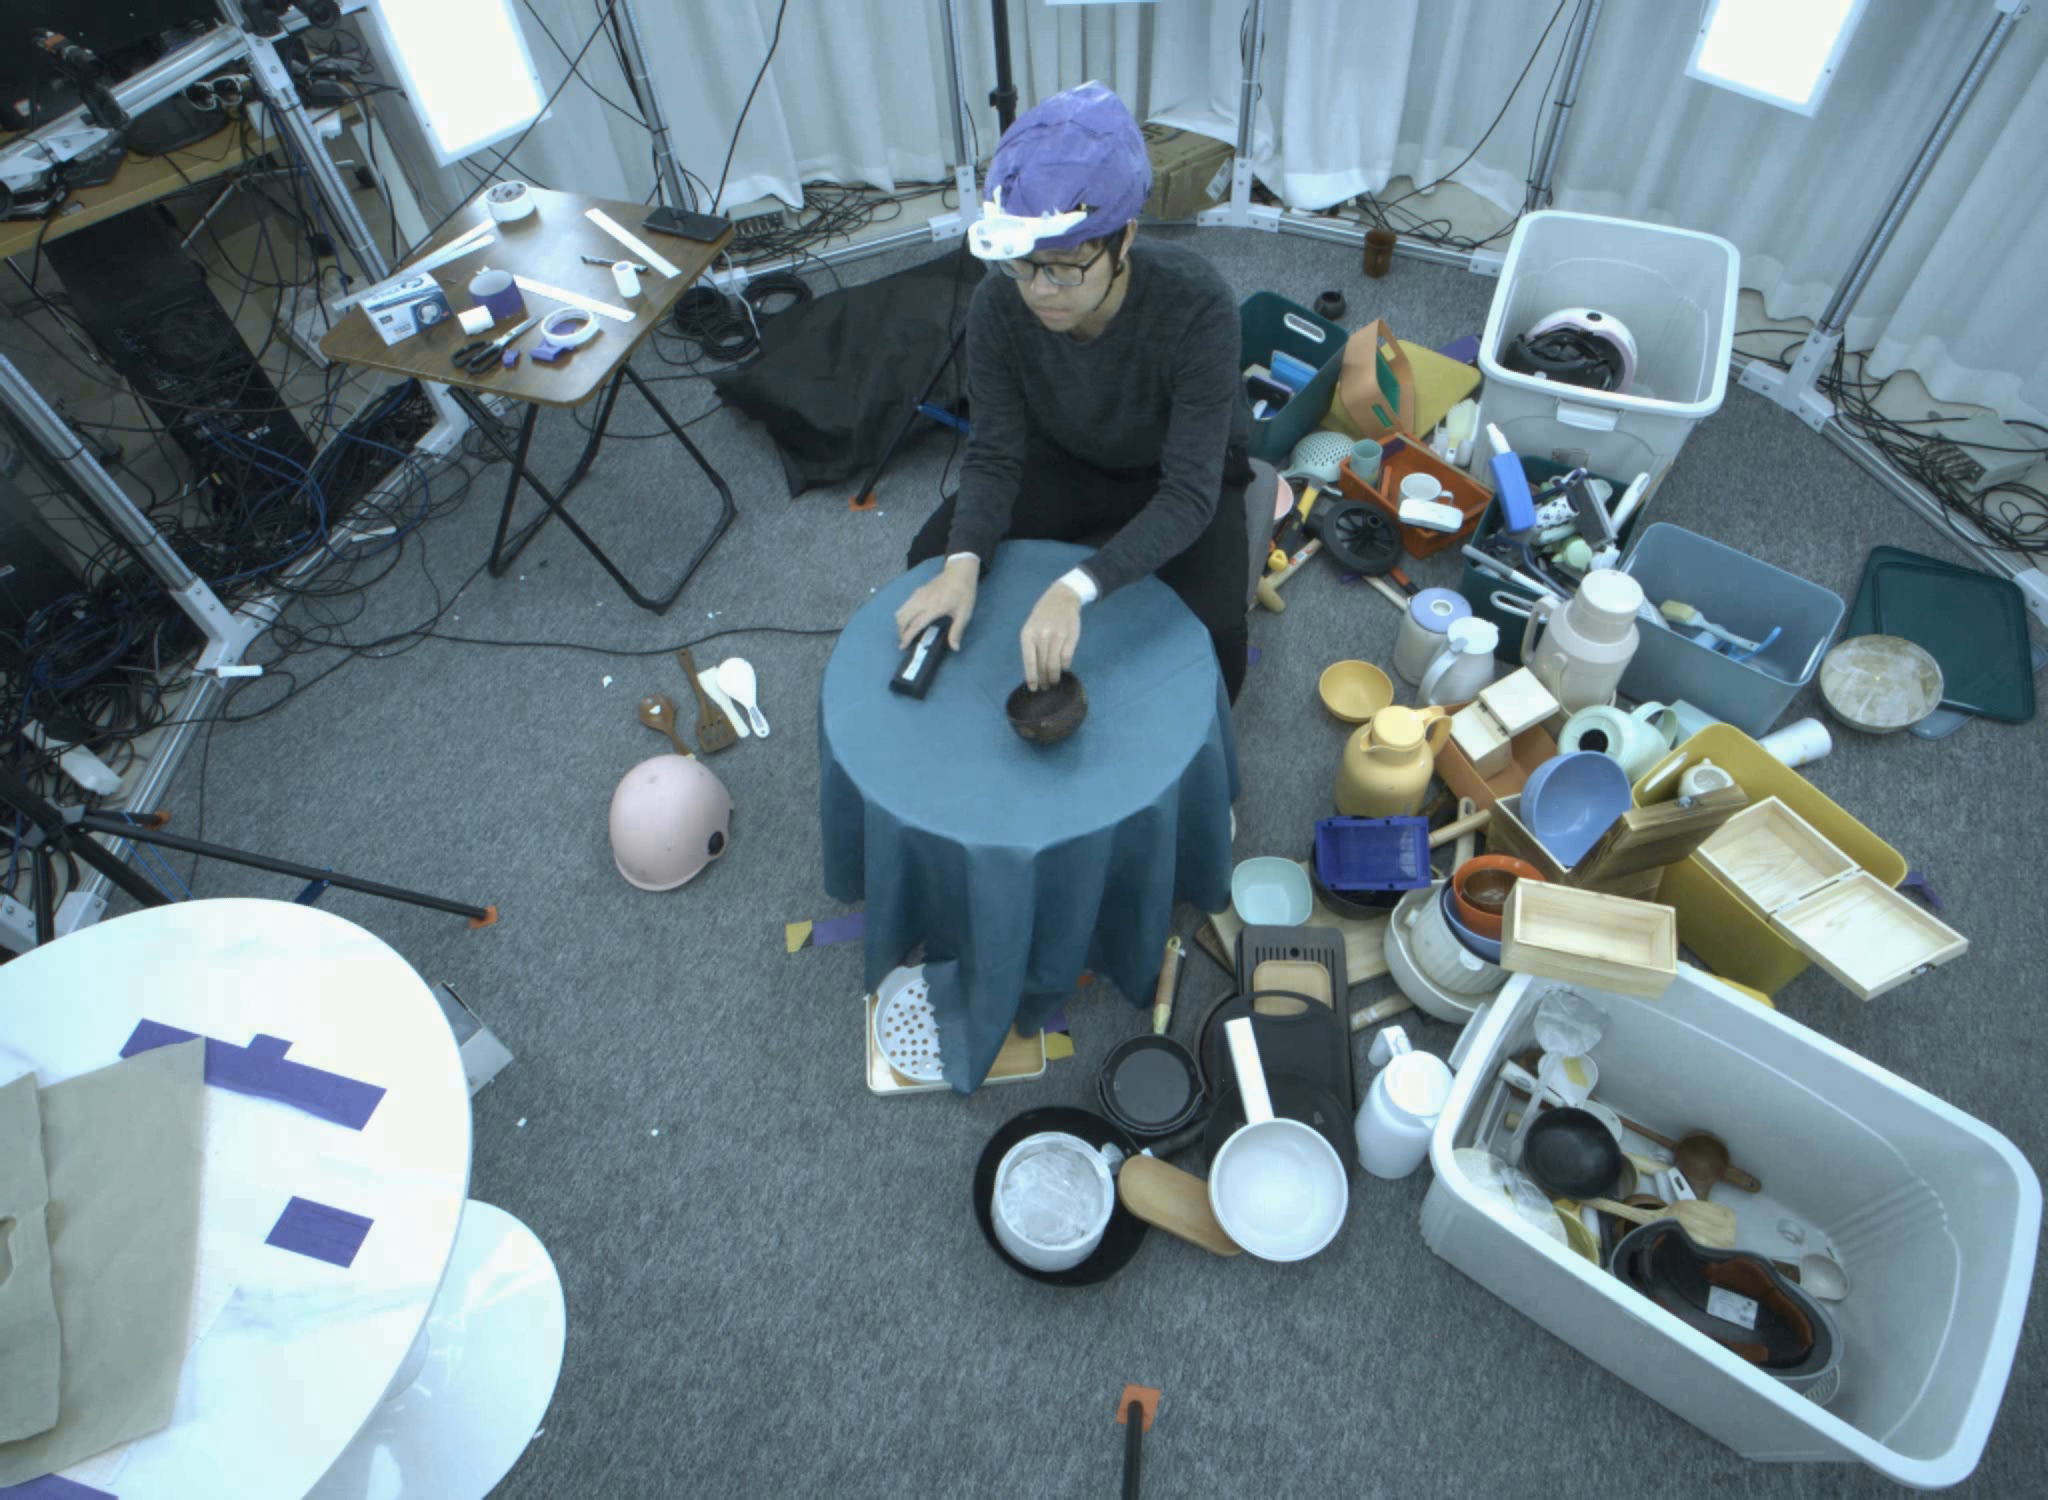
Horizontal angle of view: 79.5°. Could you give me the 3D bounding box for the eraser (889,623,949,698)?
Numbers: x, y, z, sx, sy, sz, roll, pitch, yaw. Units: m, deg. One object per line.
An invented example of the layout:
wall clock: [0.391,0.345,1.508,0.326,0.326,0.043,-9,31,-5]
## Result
eraser: [-0.159,-0.137,1.873,0.053,0.031,0.125,15,57,9]

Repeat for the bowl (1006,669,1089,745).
bowl: [0.039,-0.054,1.772,0.117,0.071,0.117,-14,39,13]
